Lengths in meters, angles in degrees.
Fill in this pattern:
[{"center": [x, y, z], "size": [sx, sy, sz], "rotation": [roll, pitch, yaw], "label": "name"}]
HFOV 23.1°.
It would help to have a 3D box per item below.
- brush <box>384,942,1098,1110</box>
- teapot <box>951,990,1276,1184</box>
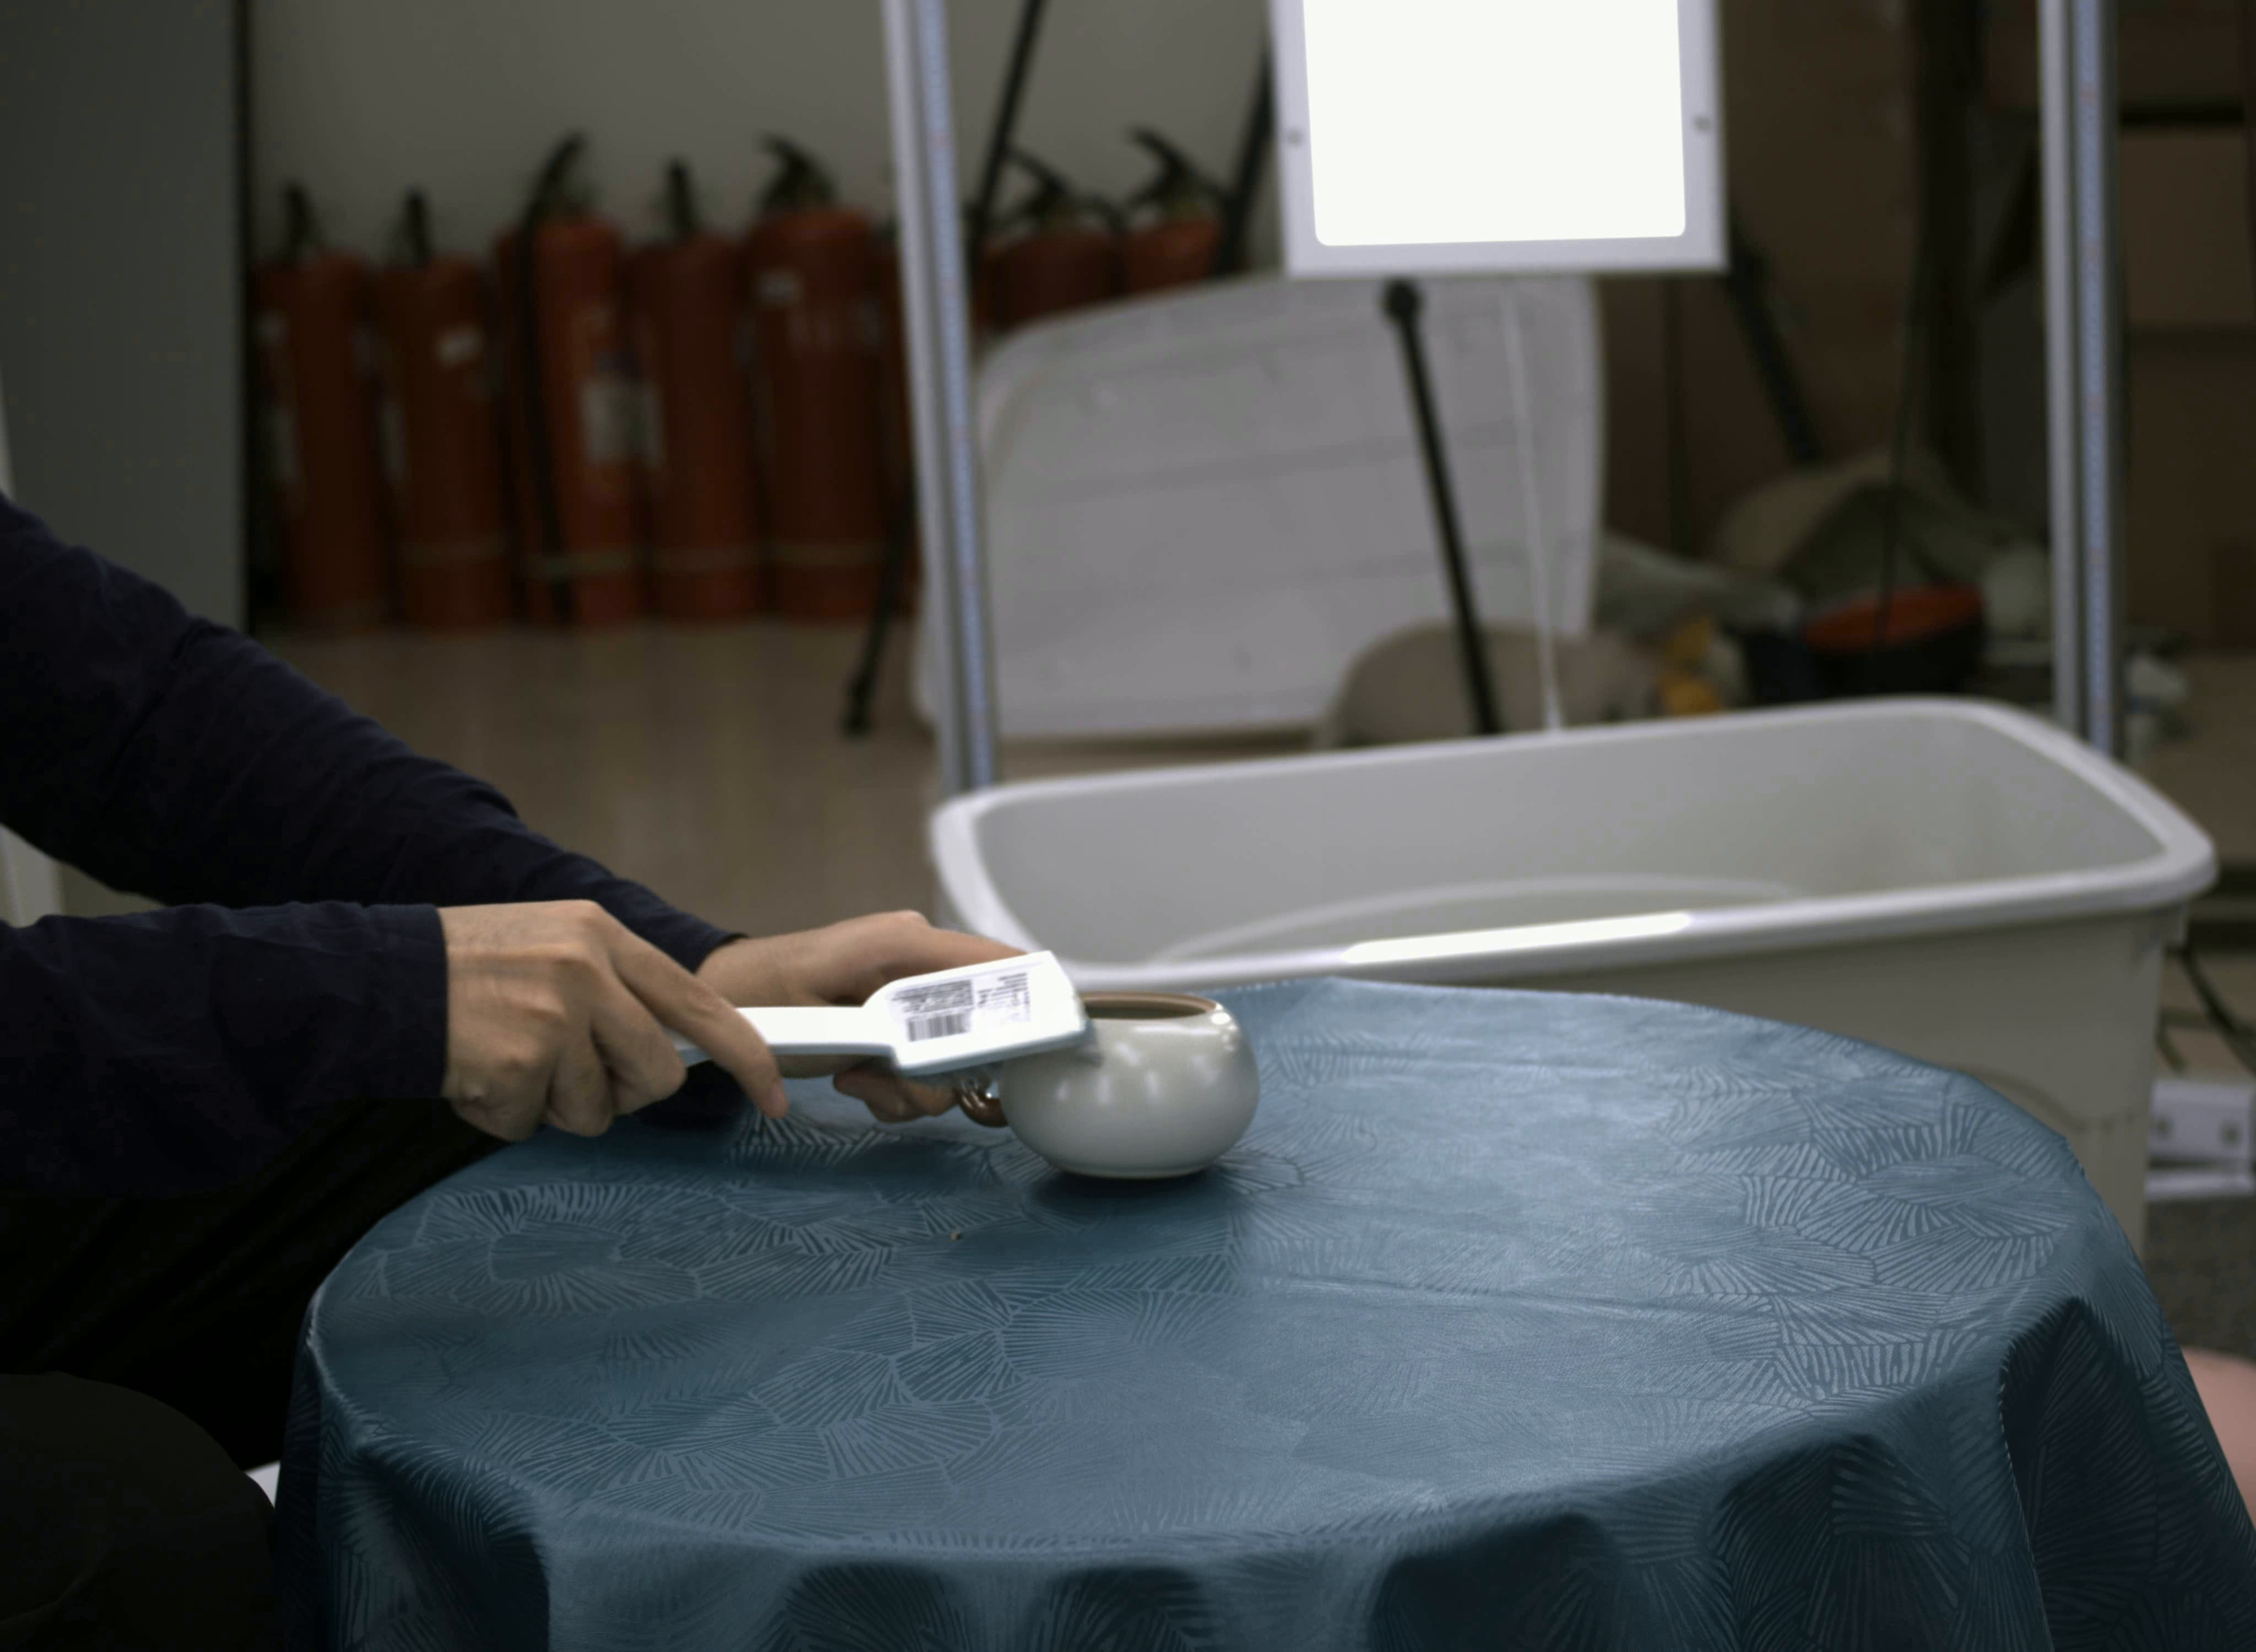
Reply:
[{"center": [-0.129, 0.075, 1.853], "size": [0.241, 0.034, 0.050], "rotation": [-8, -20, -8], "label": "brush"}, {"center": [-0.006, 0.089, 1.920], "size": [0.130, 0.060, 0.090], "rotation": [7, 12, 29], "label": "teapot"}]
